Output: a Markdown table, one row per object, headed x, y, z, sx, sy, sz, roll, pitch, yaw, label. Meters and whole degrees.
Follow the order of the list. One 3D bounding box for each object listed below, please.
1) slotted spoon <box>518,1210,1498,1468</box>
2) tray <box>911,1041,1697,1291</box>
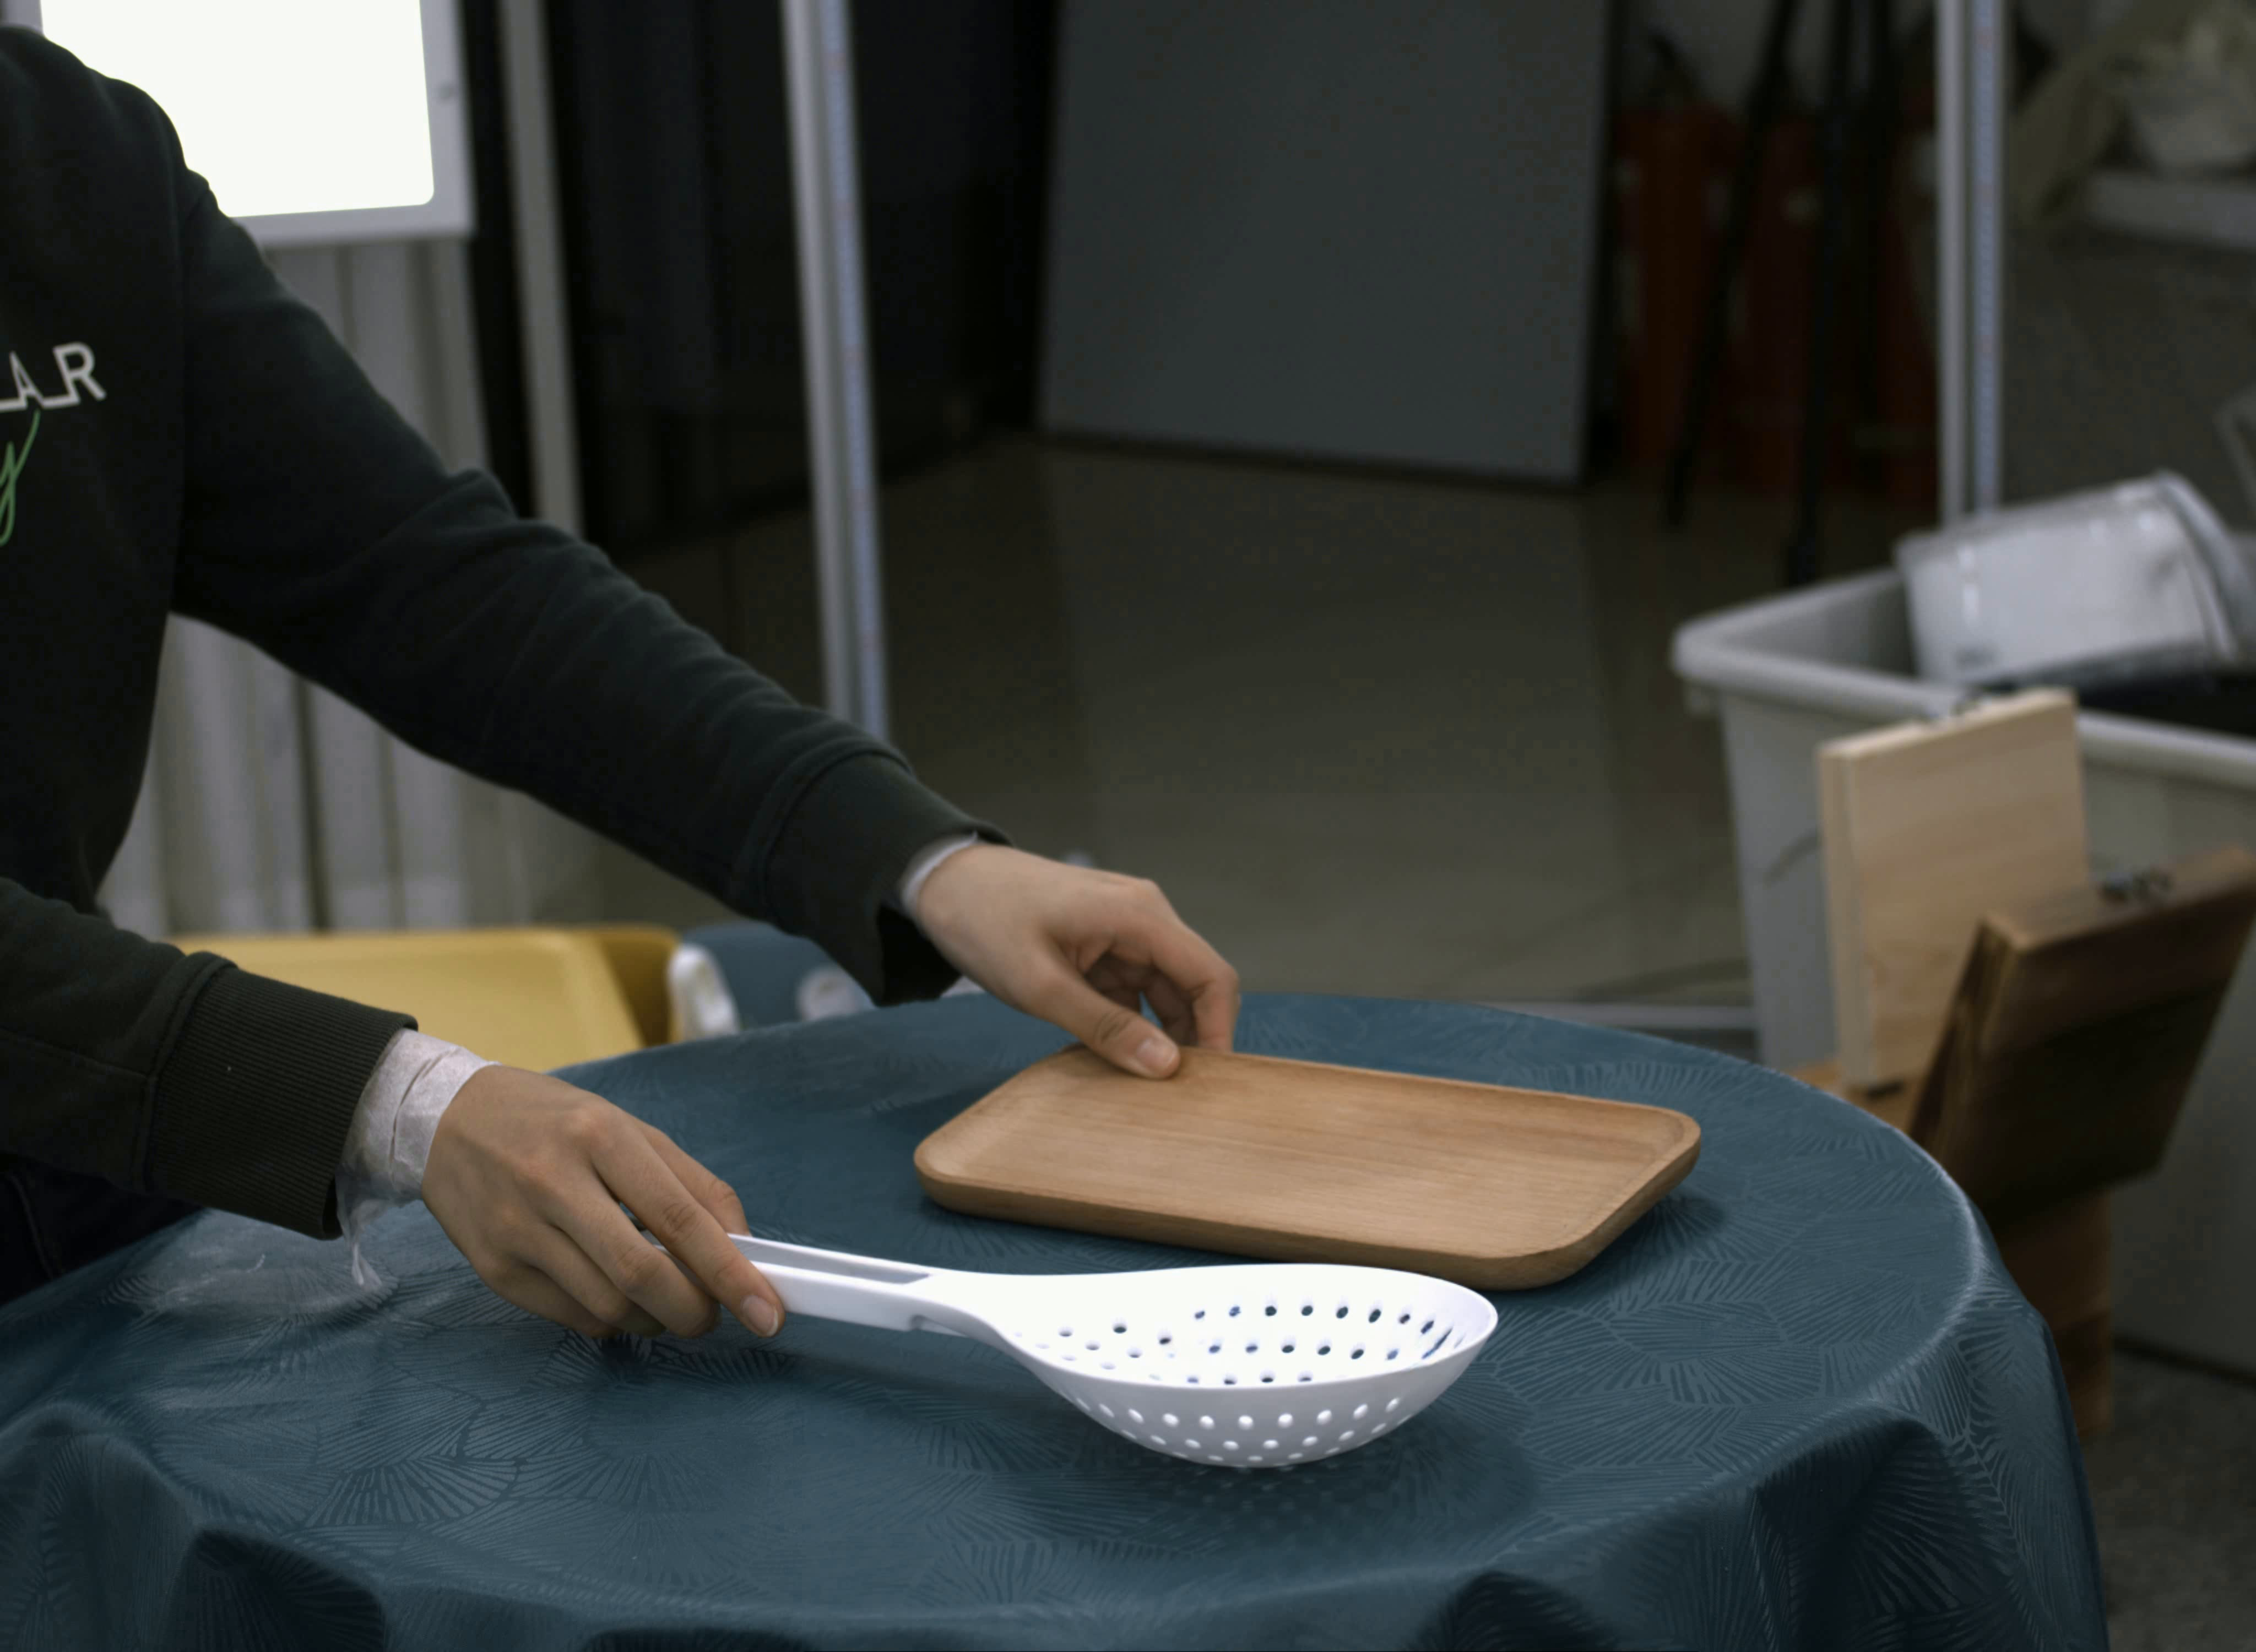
| x | y | z | sx | sy | sz | roll | pitch | yaw | label |
| --- | --- | --- | --- | --- | --- | --- | --- | --- | --- |
| -0.047 | 0.140 | 1.586 | 0.352 | 0.046 | 0.133 | 10 | 14 | 37 | slotted spoon |
| 0.056 | 0.109 | 1.747 | 0.252 | 0.023 | 0.128 | 4 | 20 | 34 | tray |
